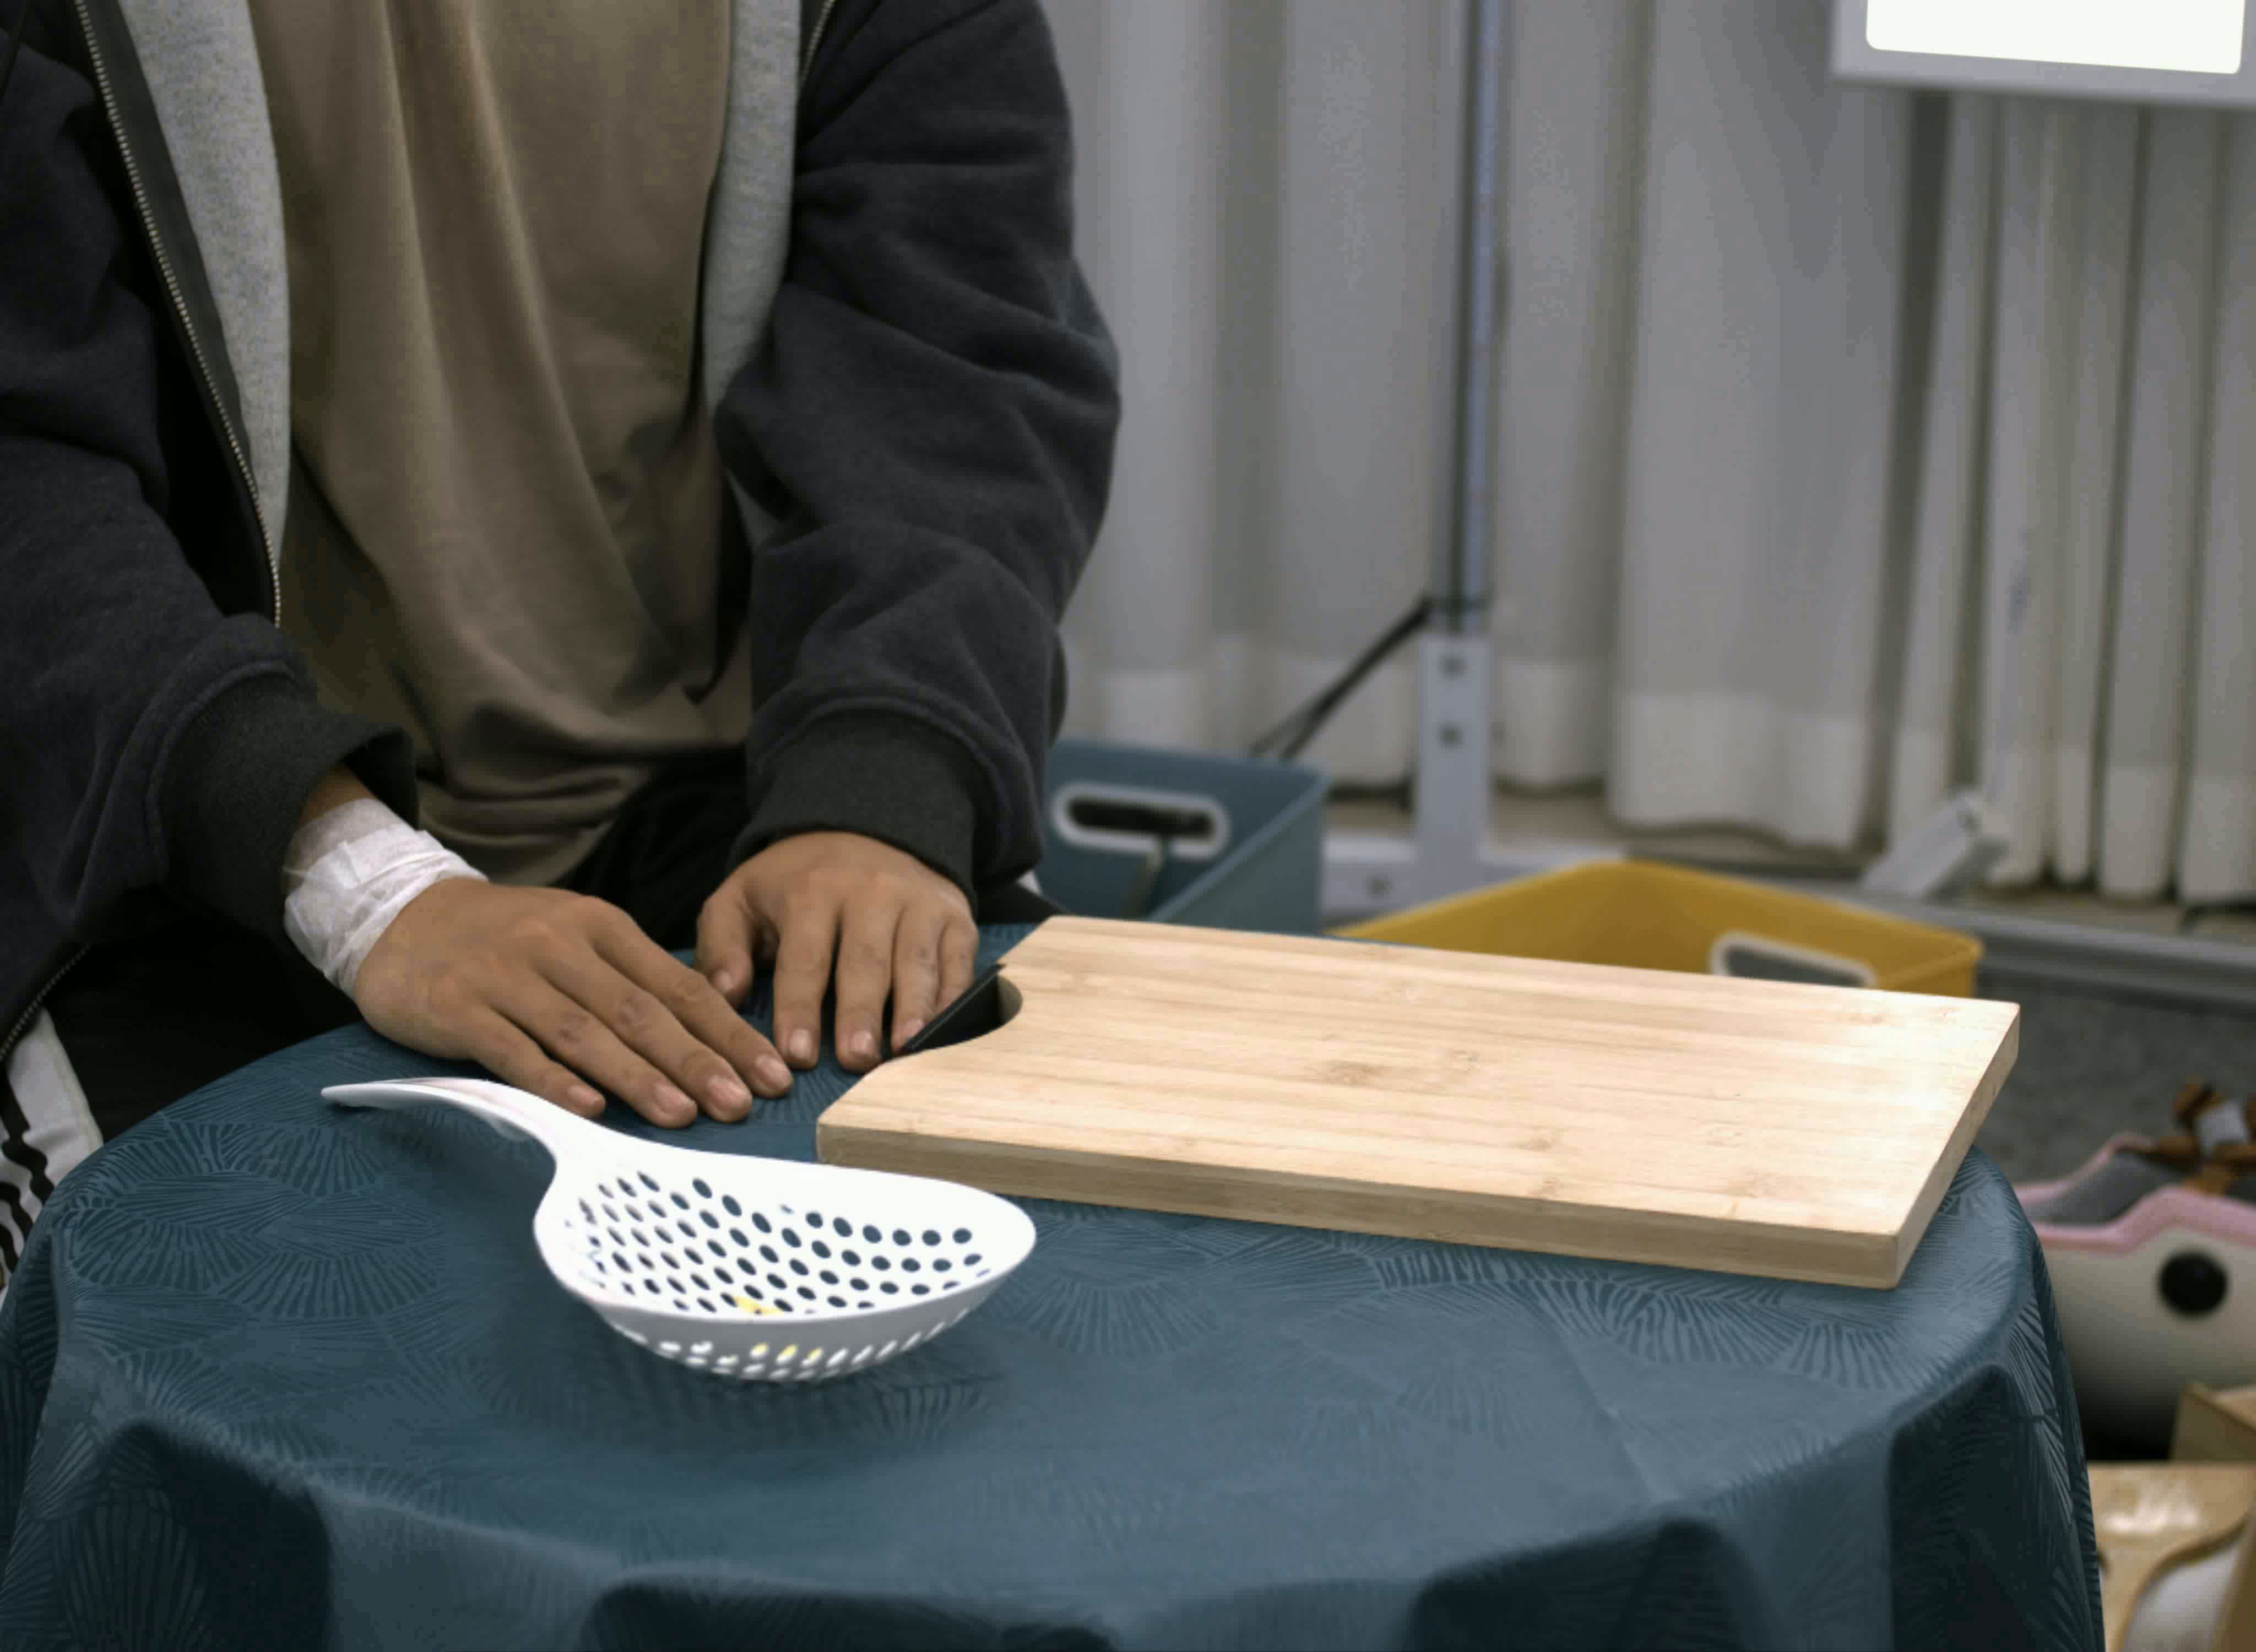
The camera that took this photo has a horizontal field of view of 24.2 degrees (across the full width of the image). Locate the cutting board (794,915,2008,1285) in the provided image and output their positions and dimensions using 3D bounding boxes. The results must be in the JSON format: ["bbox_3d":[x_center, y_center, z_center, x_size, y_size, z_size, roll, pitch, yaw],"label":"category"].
[{"bbox_3d":[0.095,0.084,1.698,0.346,0.024,0.250,5,16,15],"label":"cutting board"}]

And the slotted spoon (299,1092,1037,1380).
[{"bbox_3d":[-0.157,0.107,1.558,0.137,0.051,0.343,-13,20,-33],"label":"slotted spoon"}]
